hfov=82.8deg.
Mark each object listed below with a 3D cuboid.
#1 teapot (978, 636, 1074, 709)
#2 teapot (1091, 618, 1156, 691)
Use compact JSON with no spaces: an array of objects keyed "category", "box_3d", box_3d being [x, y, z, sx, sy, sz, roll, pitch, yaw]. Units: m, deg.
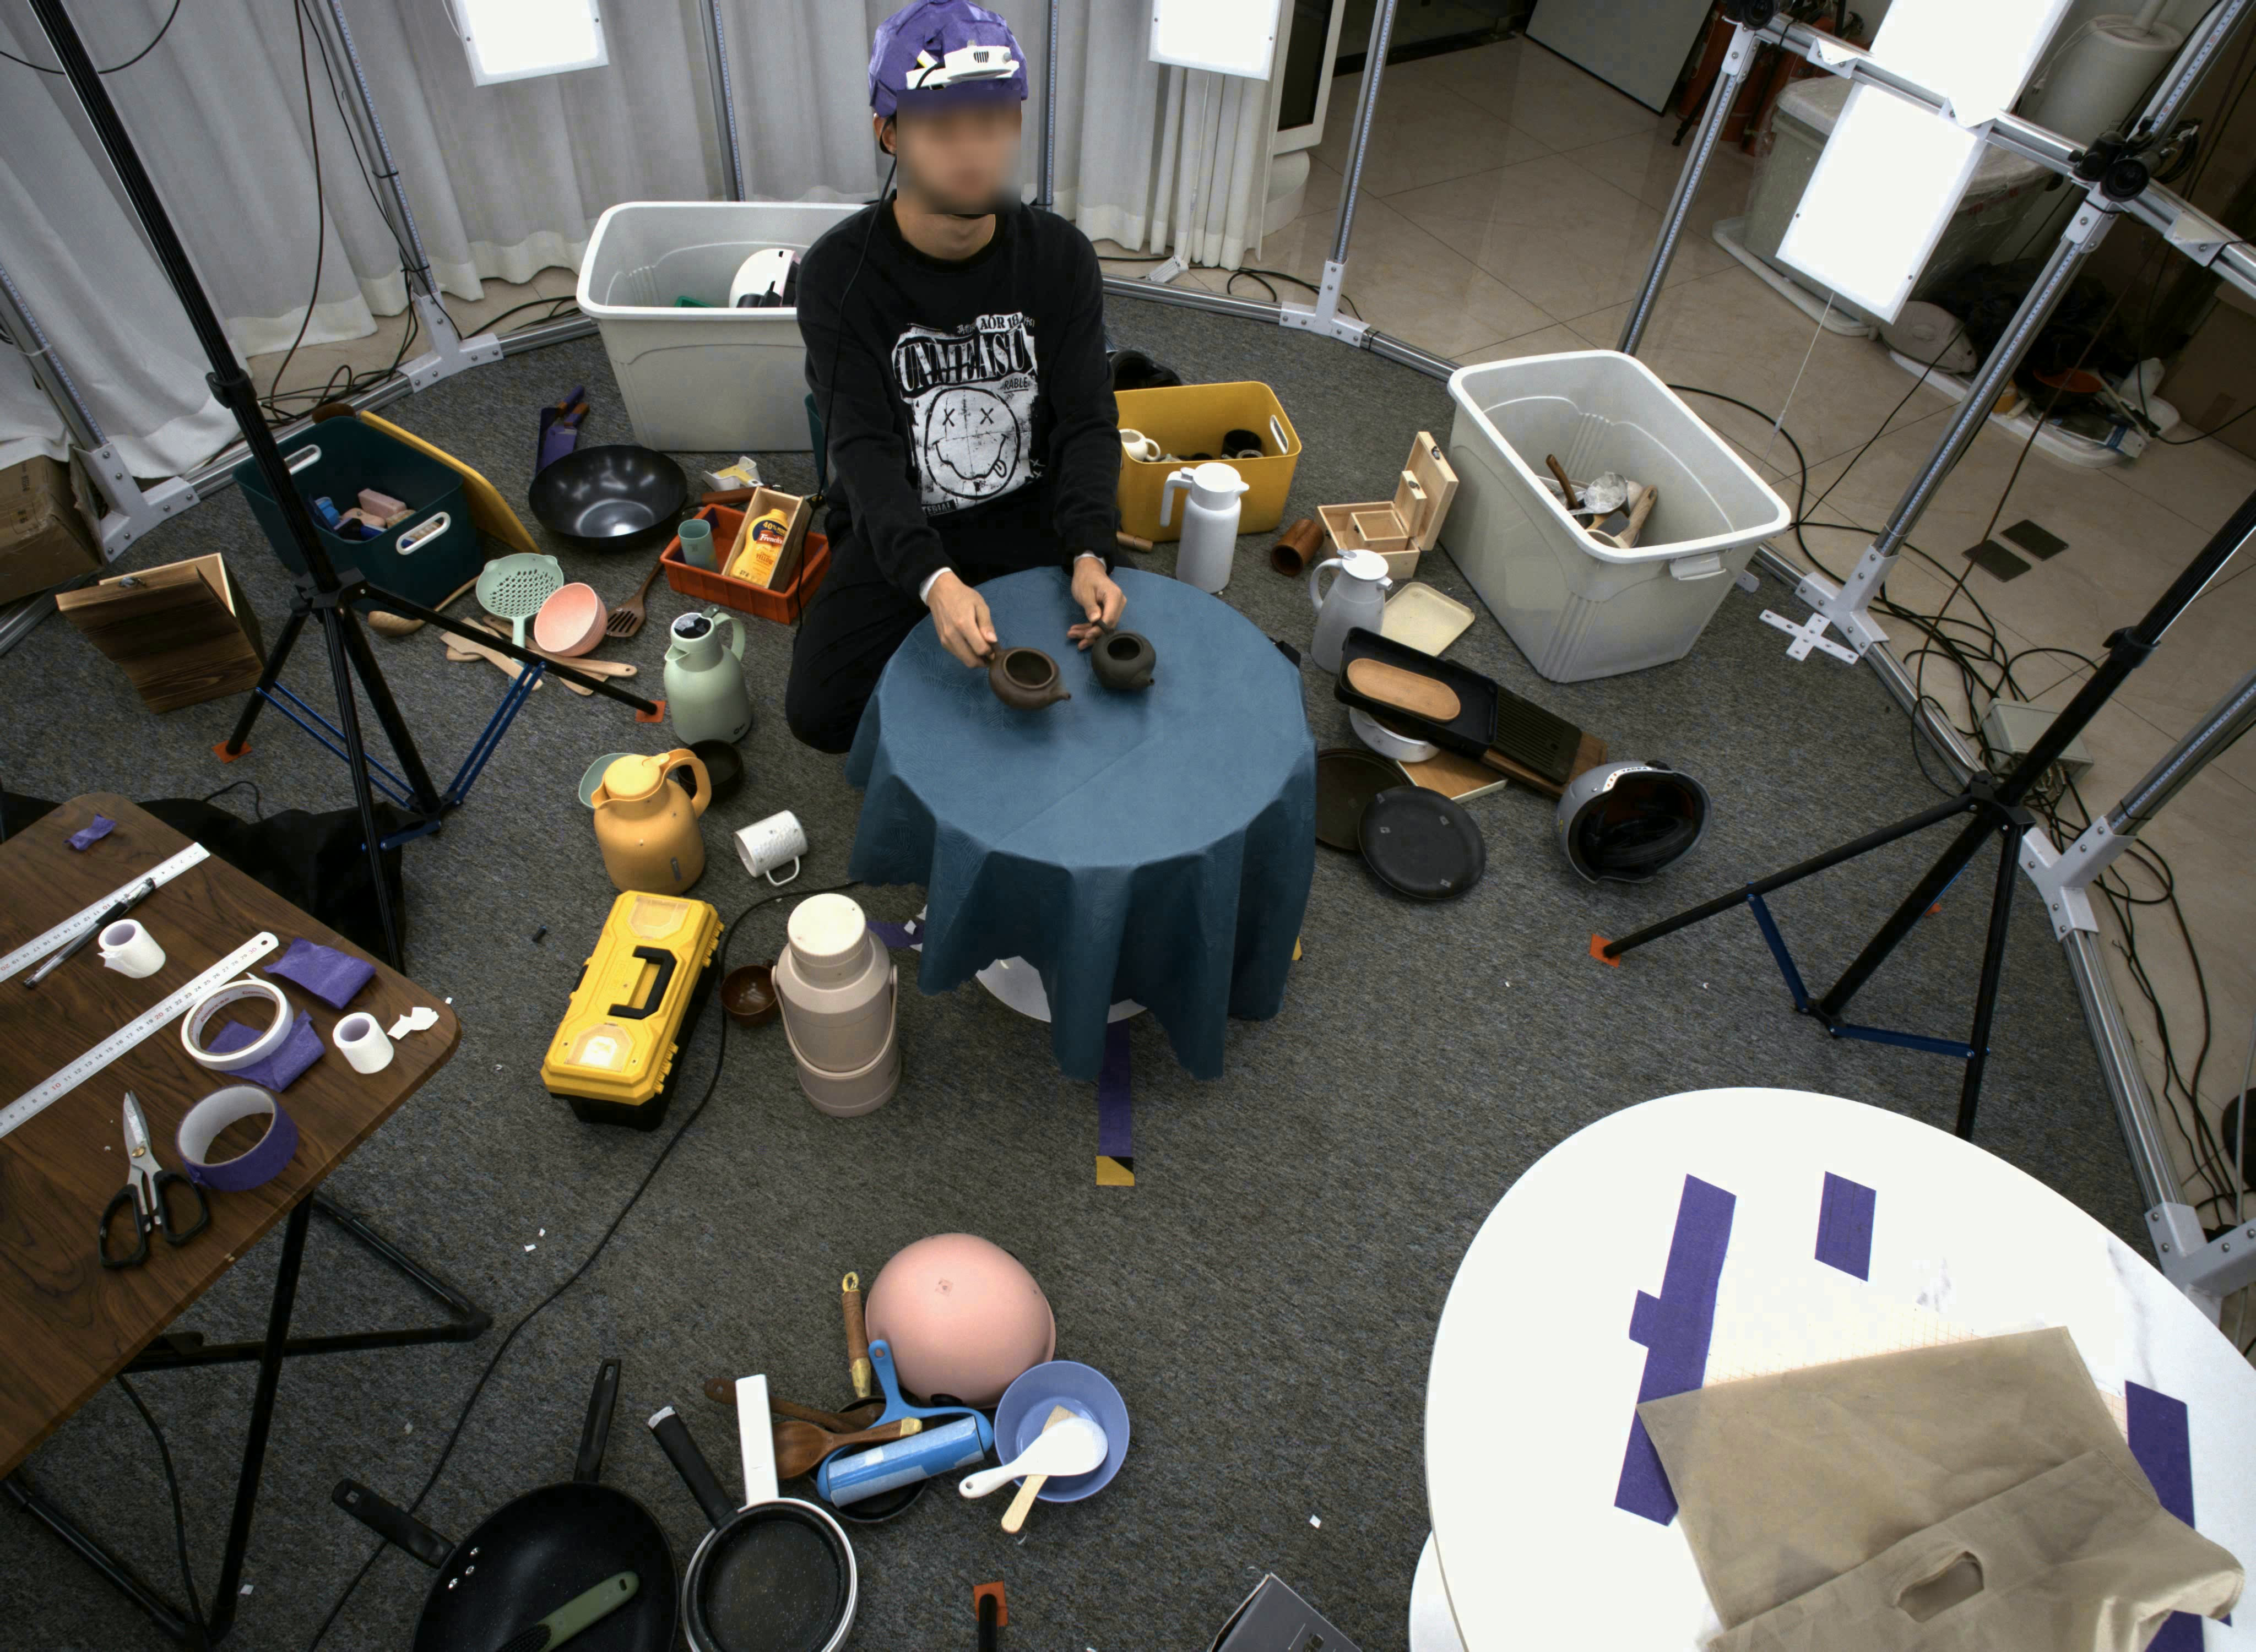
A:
[{"category":"teapot","box_3d":[-0.142,-0.208,1.762,0.154,0.053,0.104,33,50,8]},{"category":"teapot","box_3d":[-0.008,-0.240,1.835,0.092,0.063,0.157,-23,57,-23]}]
